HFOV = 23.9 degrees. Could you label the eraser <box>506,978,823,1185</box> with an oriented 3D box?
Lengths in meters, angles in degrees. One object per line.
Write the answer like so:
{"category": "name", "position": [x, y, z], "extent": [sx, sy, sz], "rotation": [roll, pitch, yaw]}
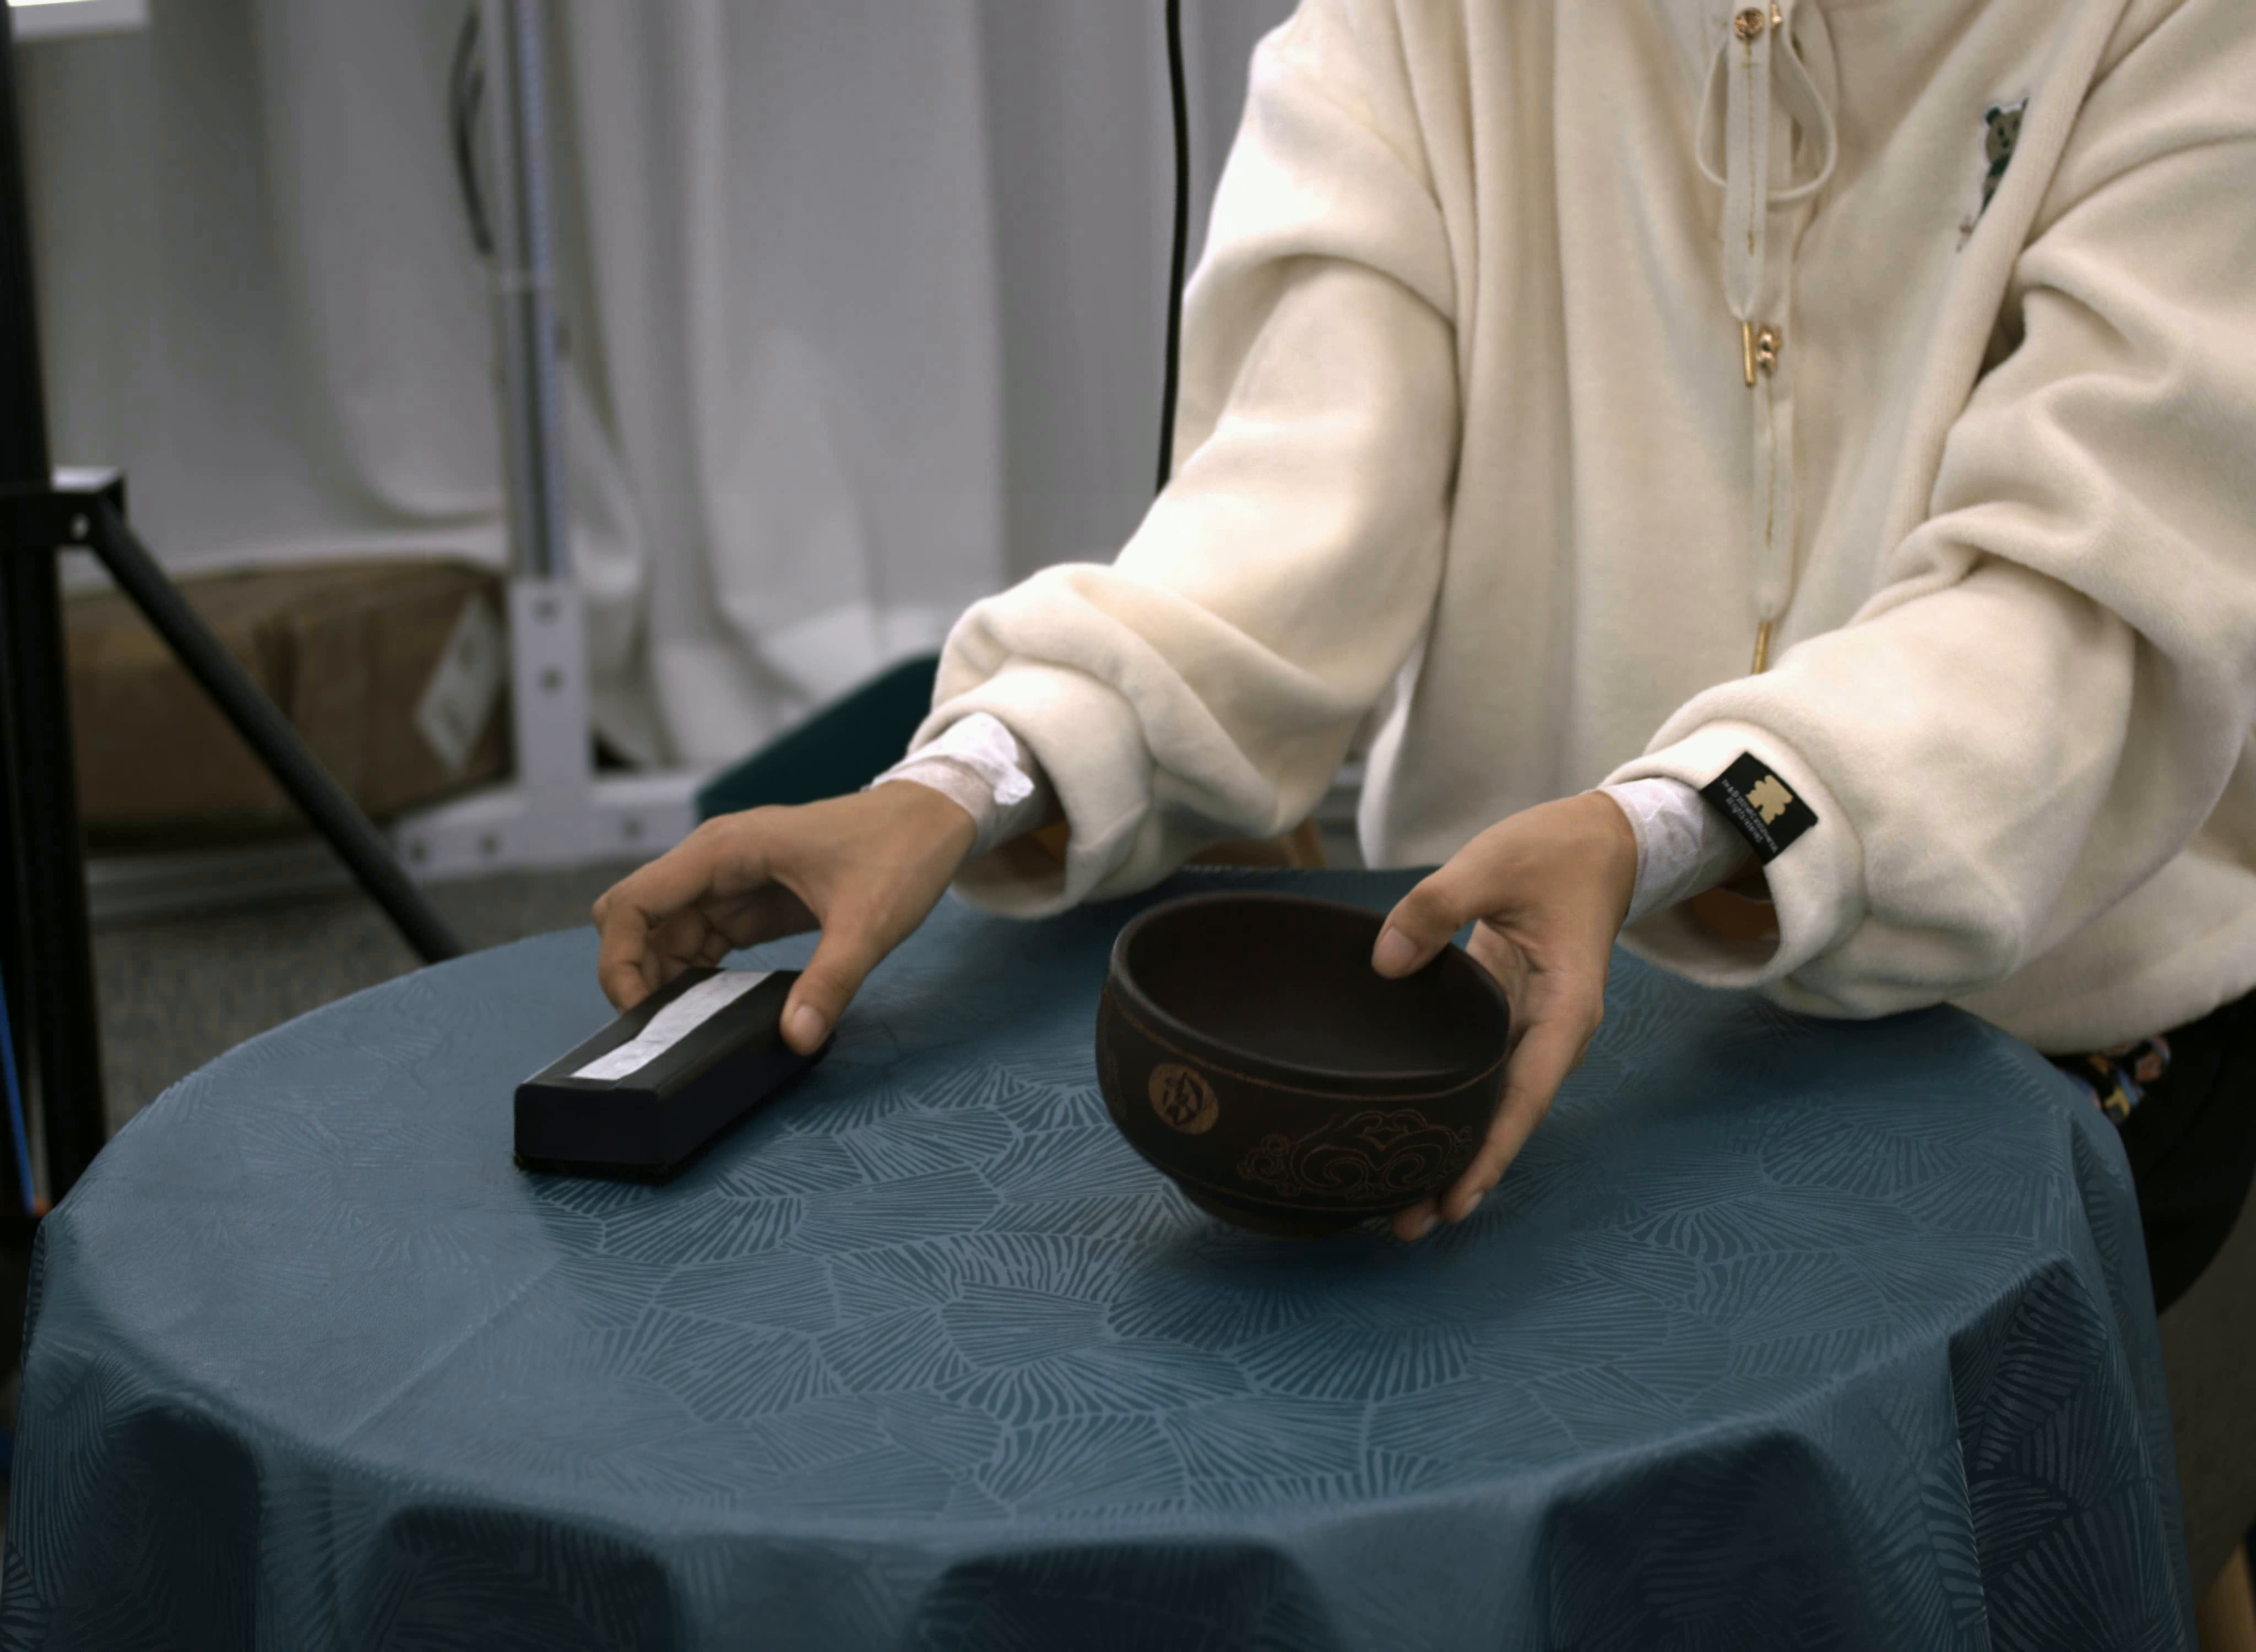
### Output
{"category": "eraser", "position": [-0.141, 0.077, 1.639], "extent": [0.054, 0.030, 0.124], "rotation": [3, 15, 20]}

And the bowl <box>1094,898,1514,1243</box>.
{"category": "bowl", "position": [0.048, 0.075, 1.507], "extent": [0.117, 0.070, 0.119], "rotation": [6, 22, -4]}
